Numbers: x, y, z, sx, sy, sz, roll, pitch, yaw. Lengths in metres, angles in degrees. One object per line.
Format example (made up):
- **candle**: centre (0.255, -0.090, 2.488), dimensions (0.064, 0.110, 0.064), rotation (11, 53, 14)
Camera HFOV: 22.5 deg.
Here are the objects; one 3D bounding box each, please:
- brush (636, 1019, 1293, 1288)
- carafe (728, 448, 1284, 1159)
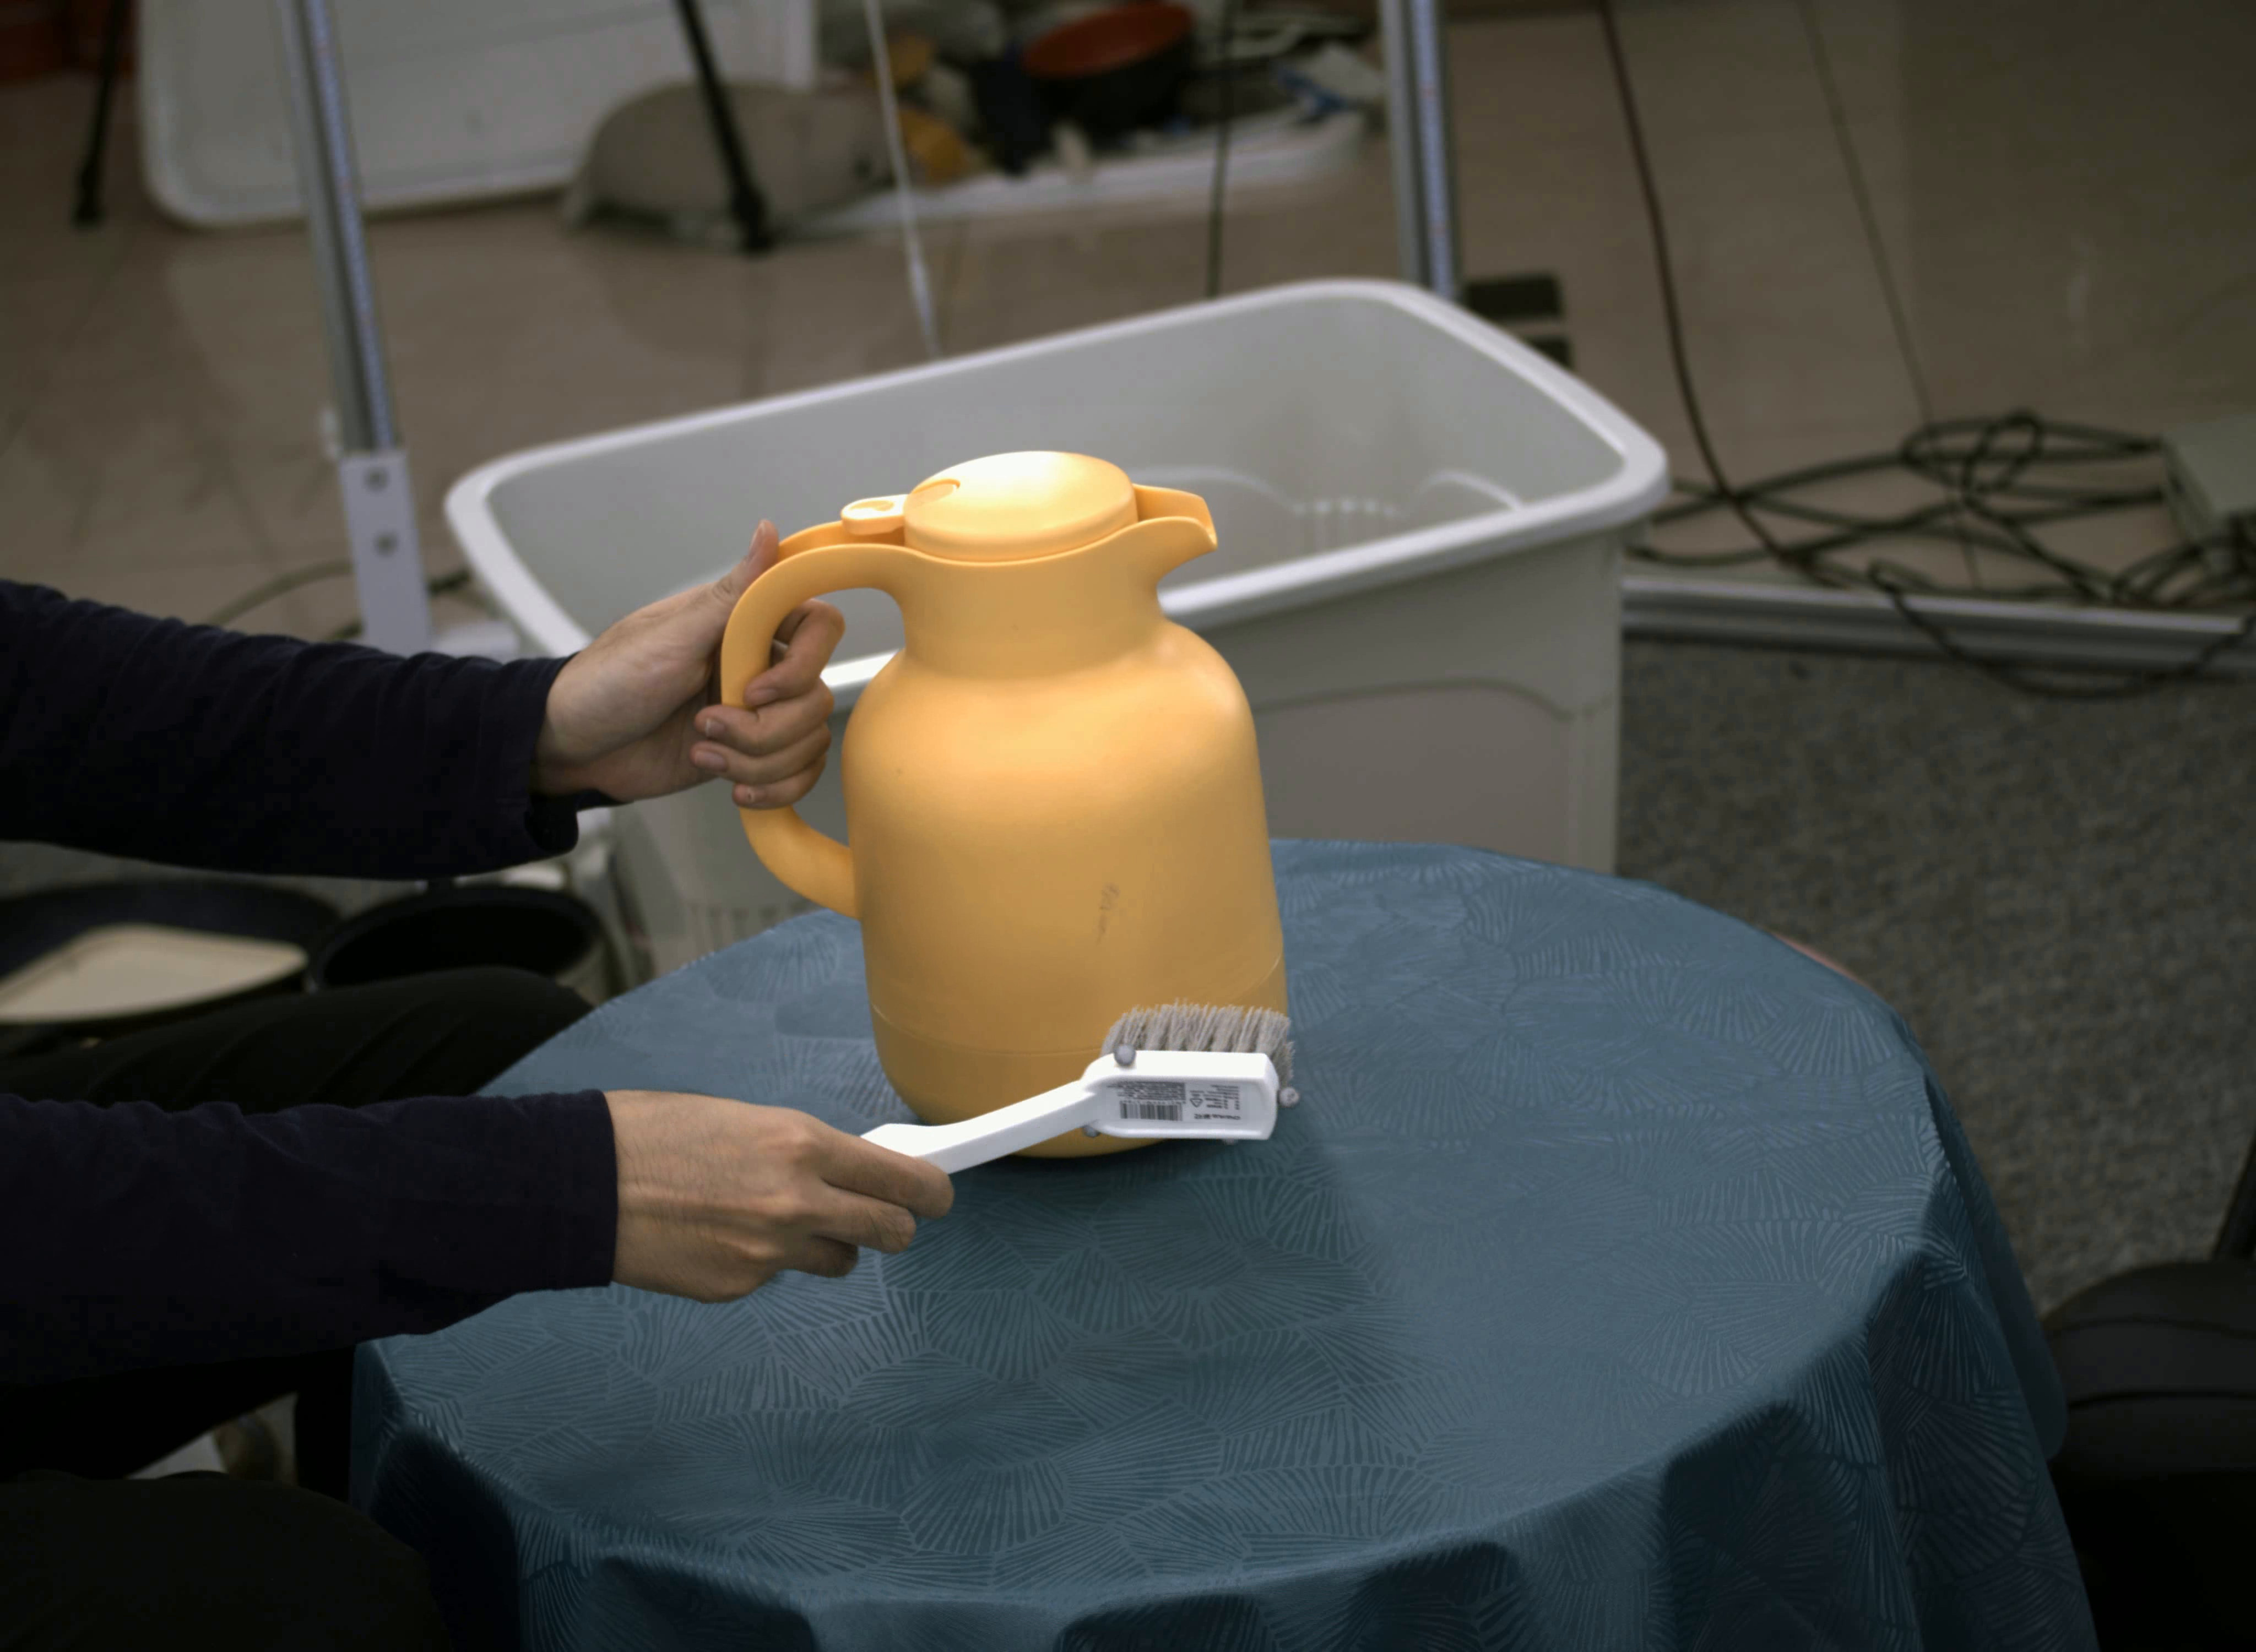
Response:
- **brush**: centre (-0.058, 0.113, 2.009), dimensions (0.243, 0.035, 0.049), rotation (-14, 45, -4)
- **carafe**: centre (-0.047, -0.012, 2.171), dimensions (0.202, 0.264, 0.161), rotation (-3, 23, 6)
